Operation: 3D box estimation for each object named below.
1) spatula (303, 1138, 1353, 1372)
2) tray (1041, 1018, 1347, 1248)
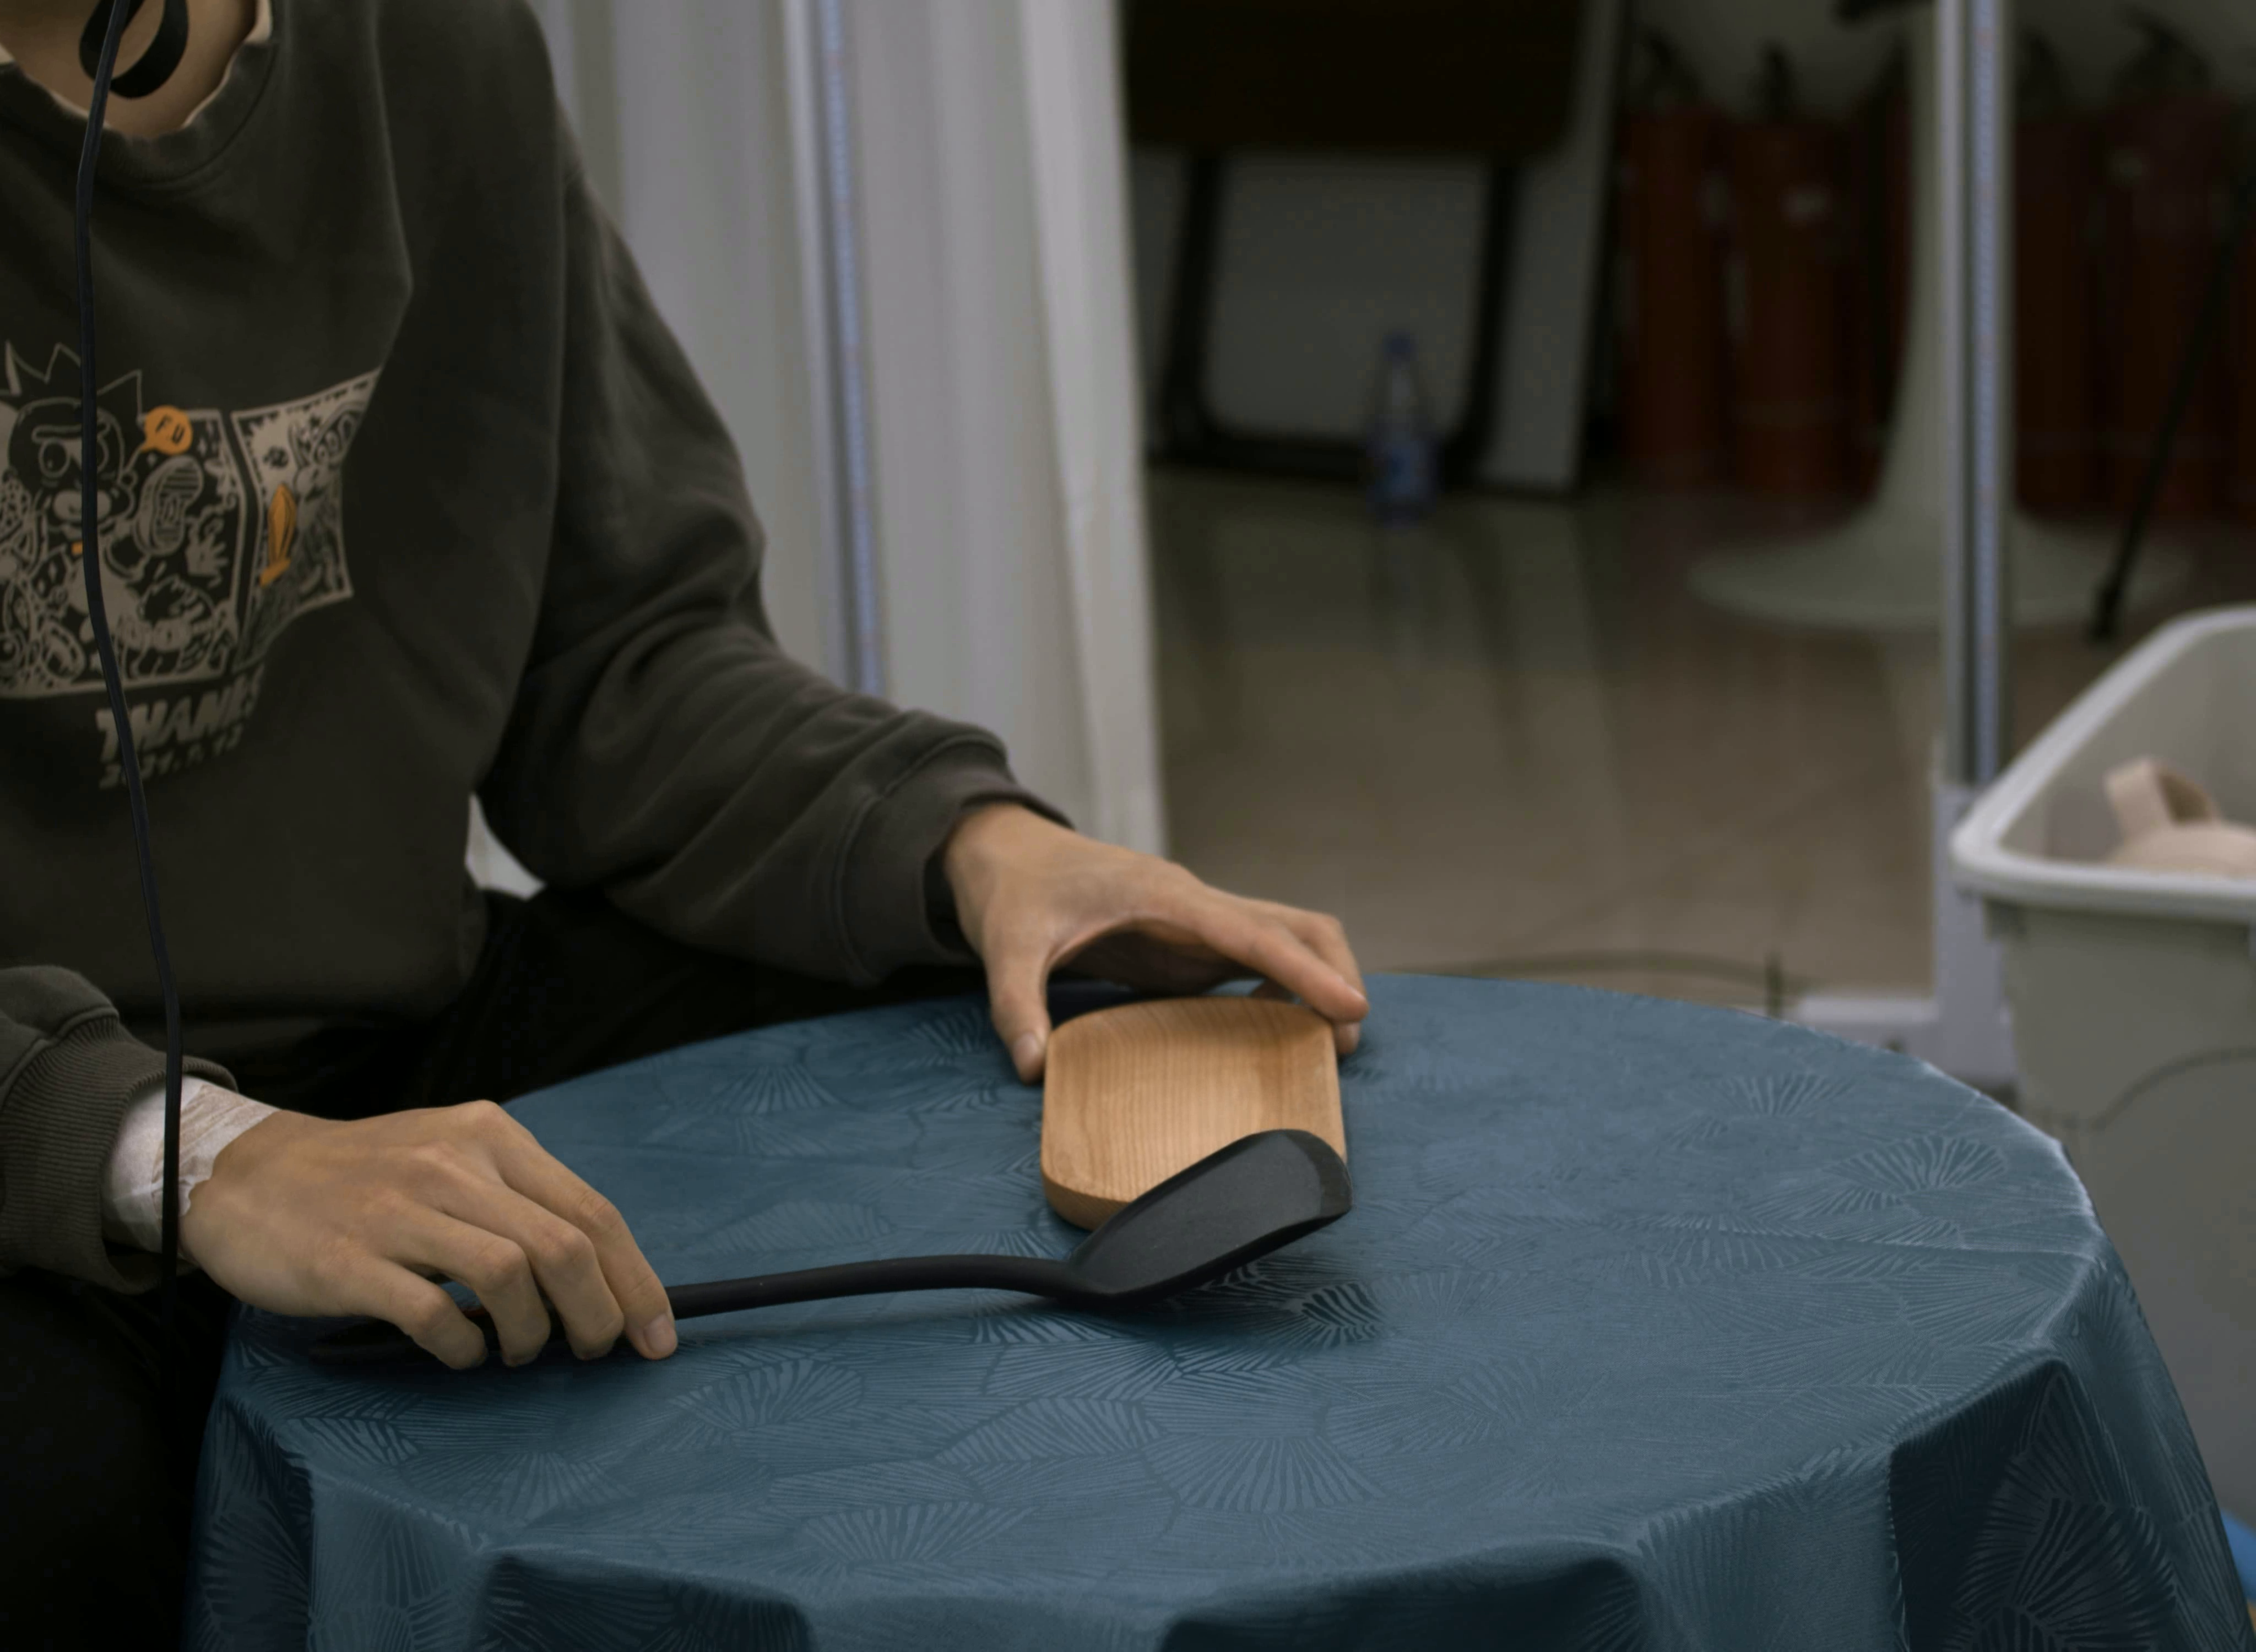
[{"bbox_3d":[-0.092,0.137,1.658,0.321,0.041,0.100,-4,10,-5],"label":"spatula"},{"bbox_3d":[0.022,0.102,1.819,0.100,0.020,0.231,-4,15,2],"label":"tray"}]
